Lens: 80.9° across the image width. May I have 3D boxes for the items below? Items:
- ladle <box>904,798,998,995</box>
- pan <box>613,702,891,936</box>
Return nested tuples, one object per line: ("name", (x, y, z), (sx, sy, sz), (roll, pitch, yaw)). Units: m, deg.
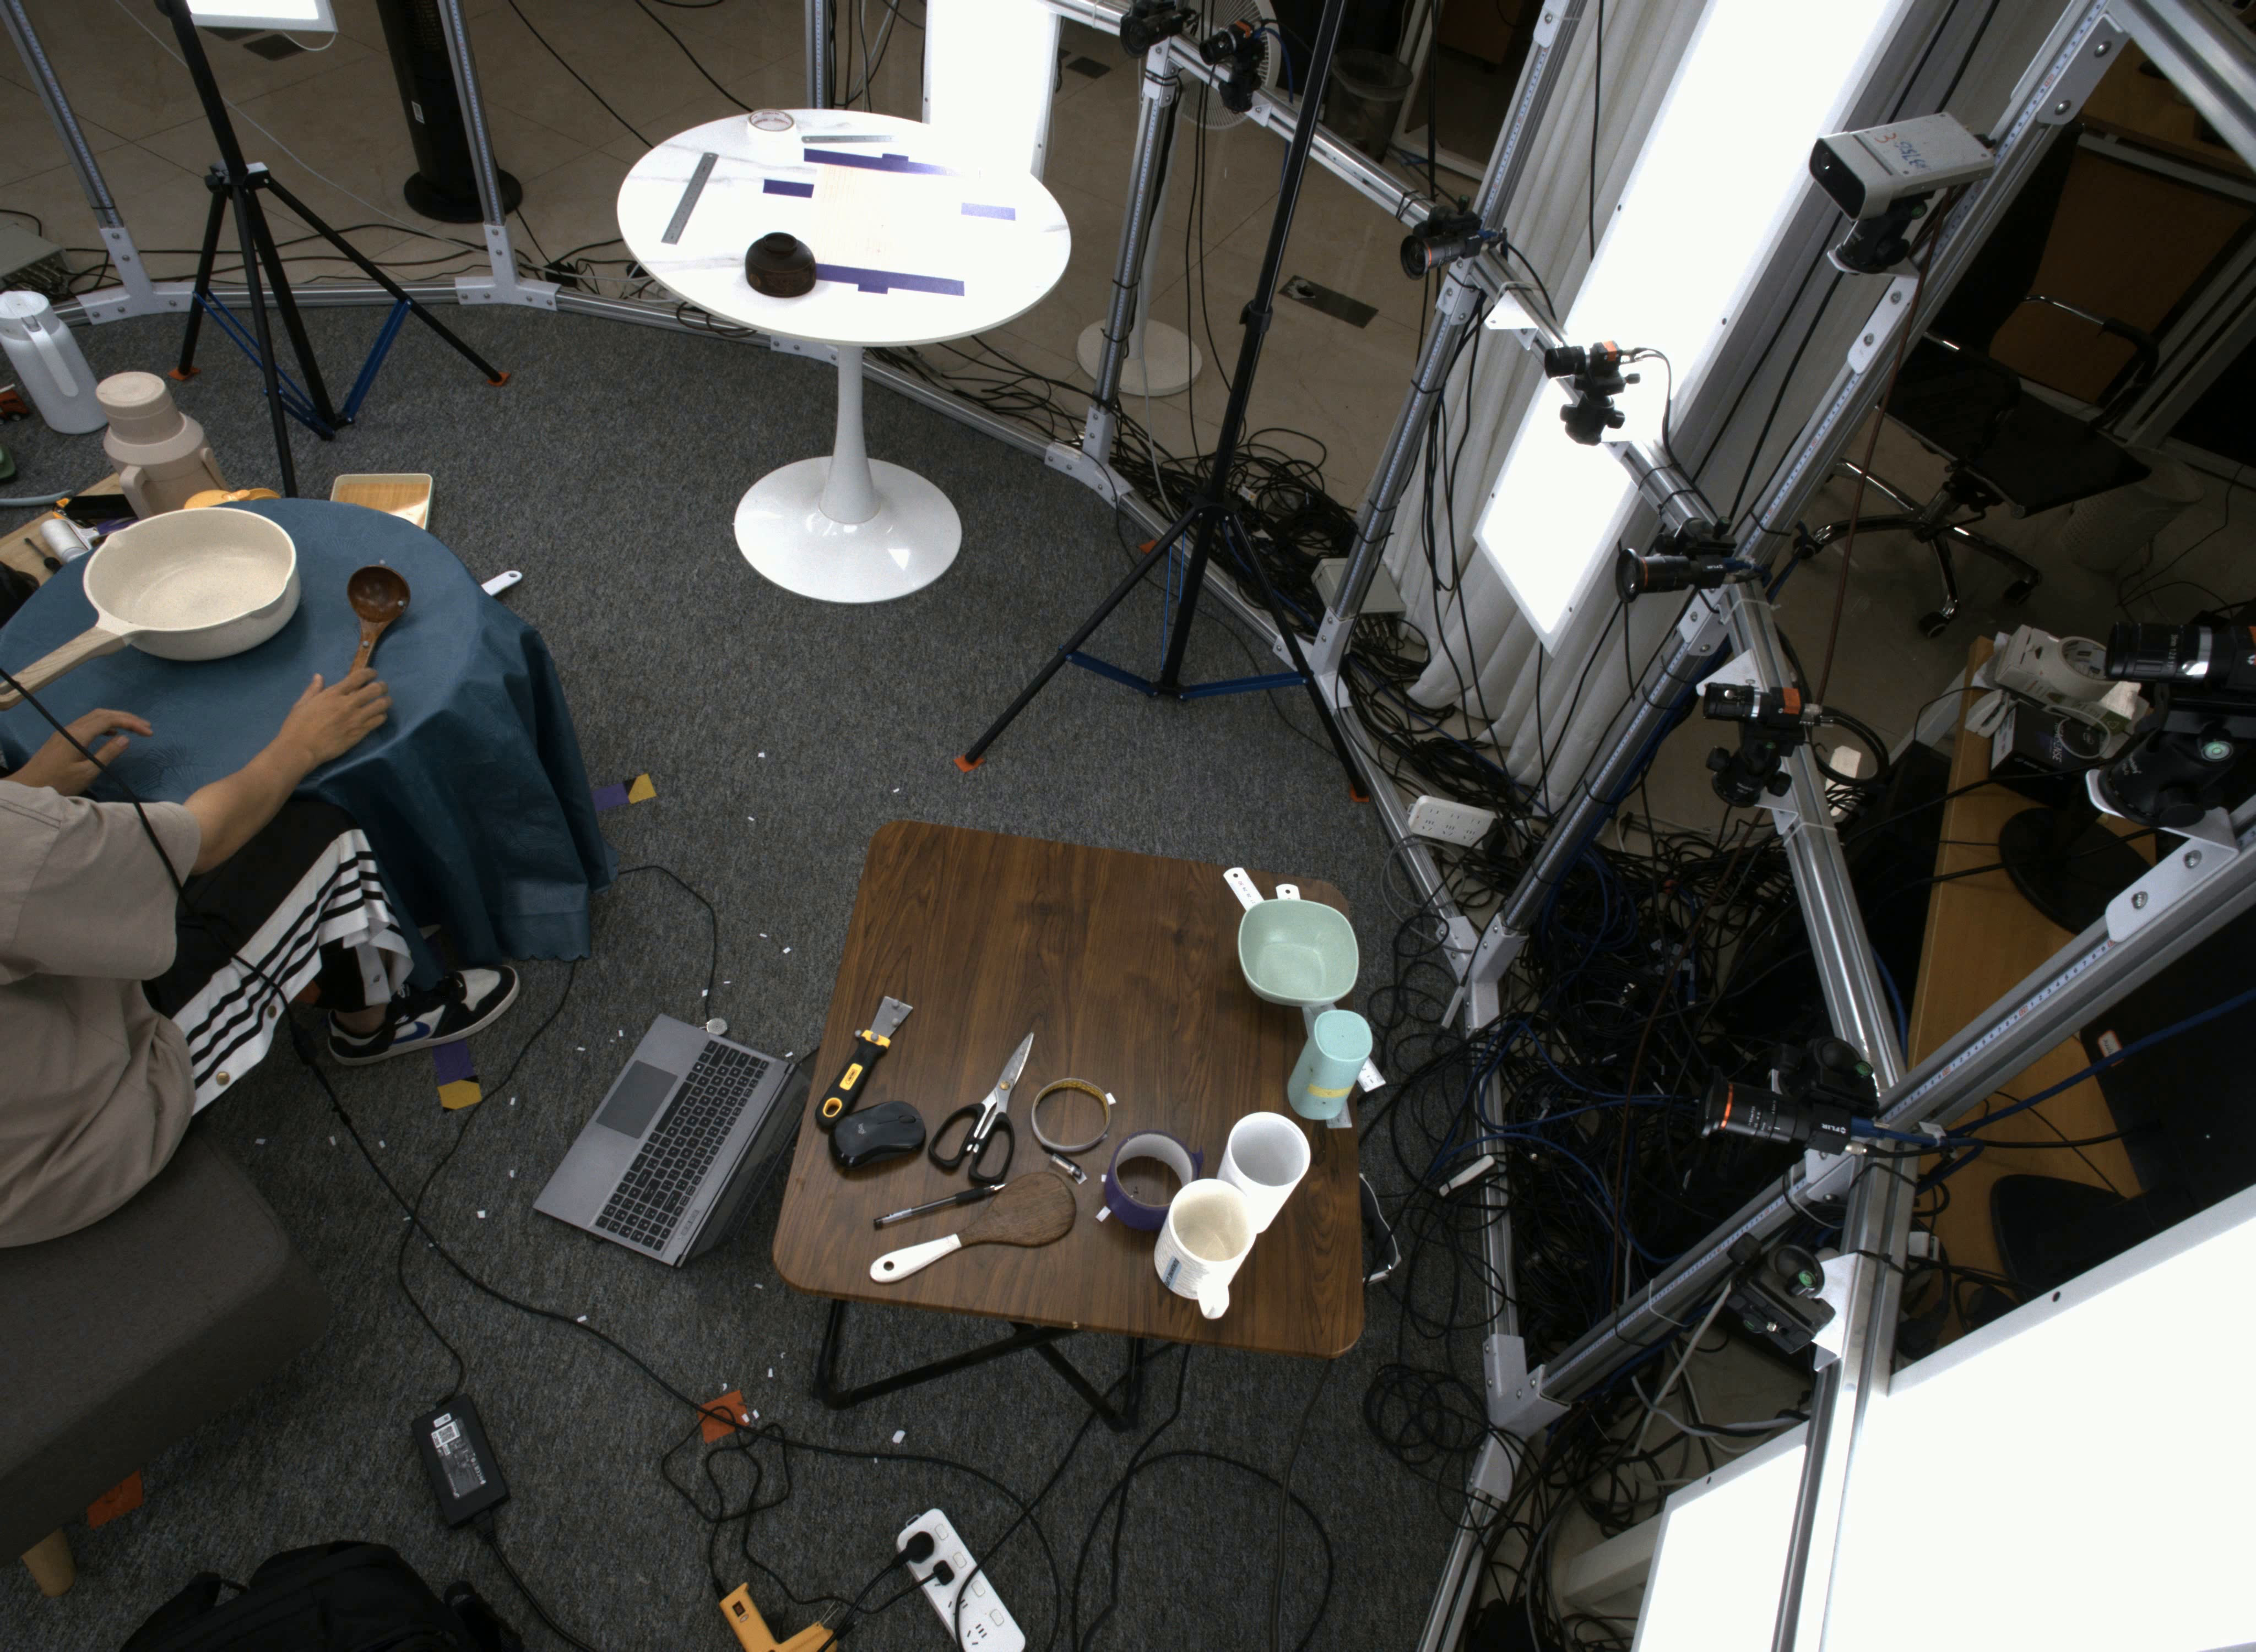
("ladle", (-0.232, 0.083, 1.668), (0.081, 0.078, 0.270), (17, 51, -5))
("pan", (-0.488, 0.010, 1.649), (0.259, 0.104, 0.434), (33, 54, 11))
